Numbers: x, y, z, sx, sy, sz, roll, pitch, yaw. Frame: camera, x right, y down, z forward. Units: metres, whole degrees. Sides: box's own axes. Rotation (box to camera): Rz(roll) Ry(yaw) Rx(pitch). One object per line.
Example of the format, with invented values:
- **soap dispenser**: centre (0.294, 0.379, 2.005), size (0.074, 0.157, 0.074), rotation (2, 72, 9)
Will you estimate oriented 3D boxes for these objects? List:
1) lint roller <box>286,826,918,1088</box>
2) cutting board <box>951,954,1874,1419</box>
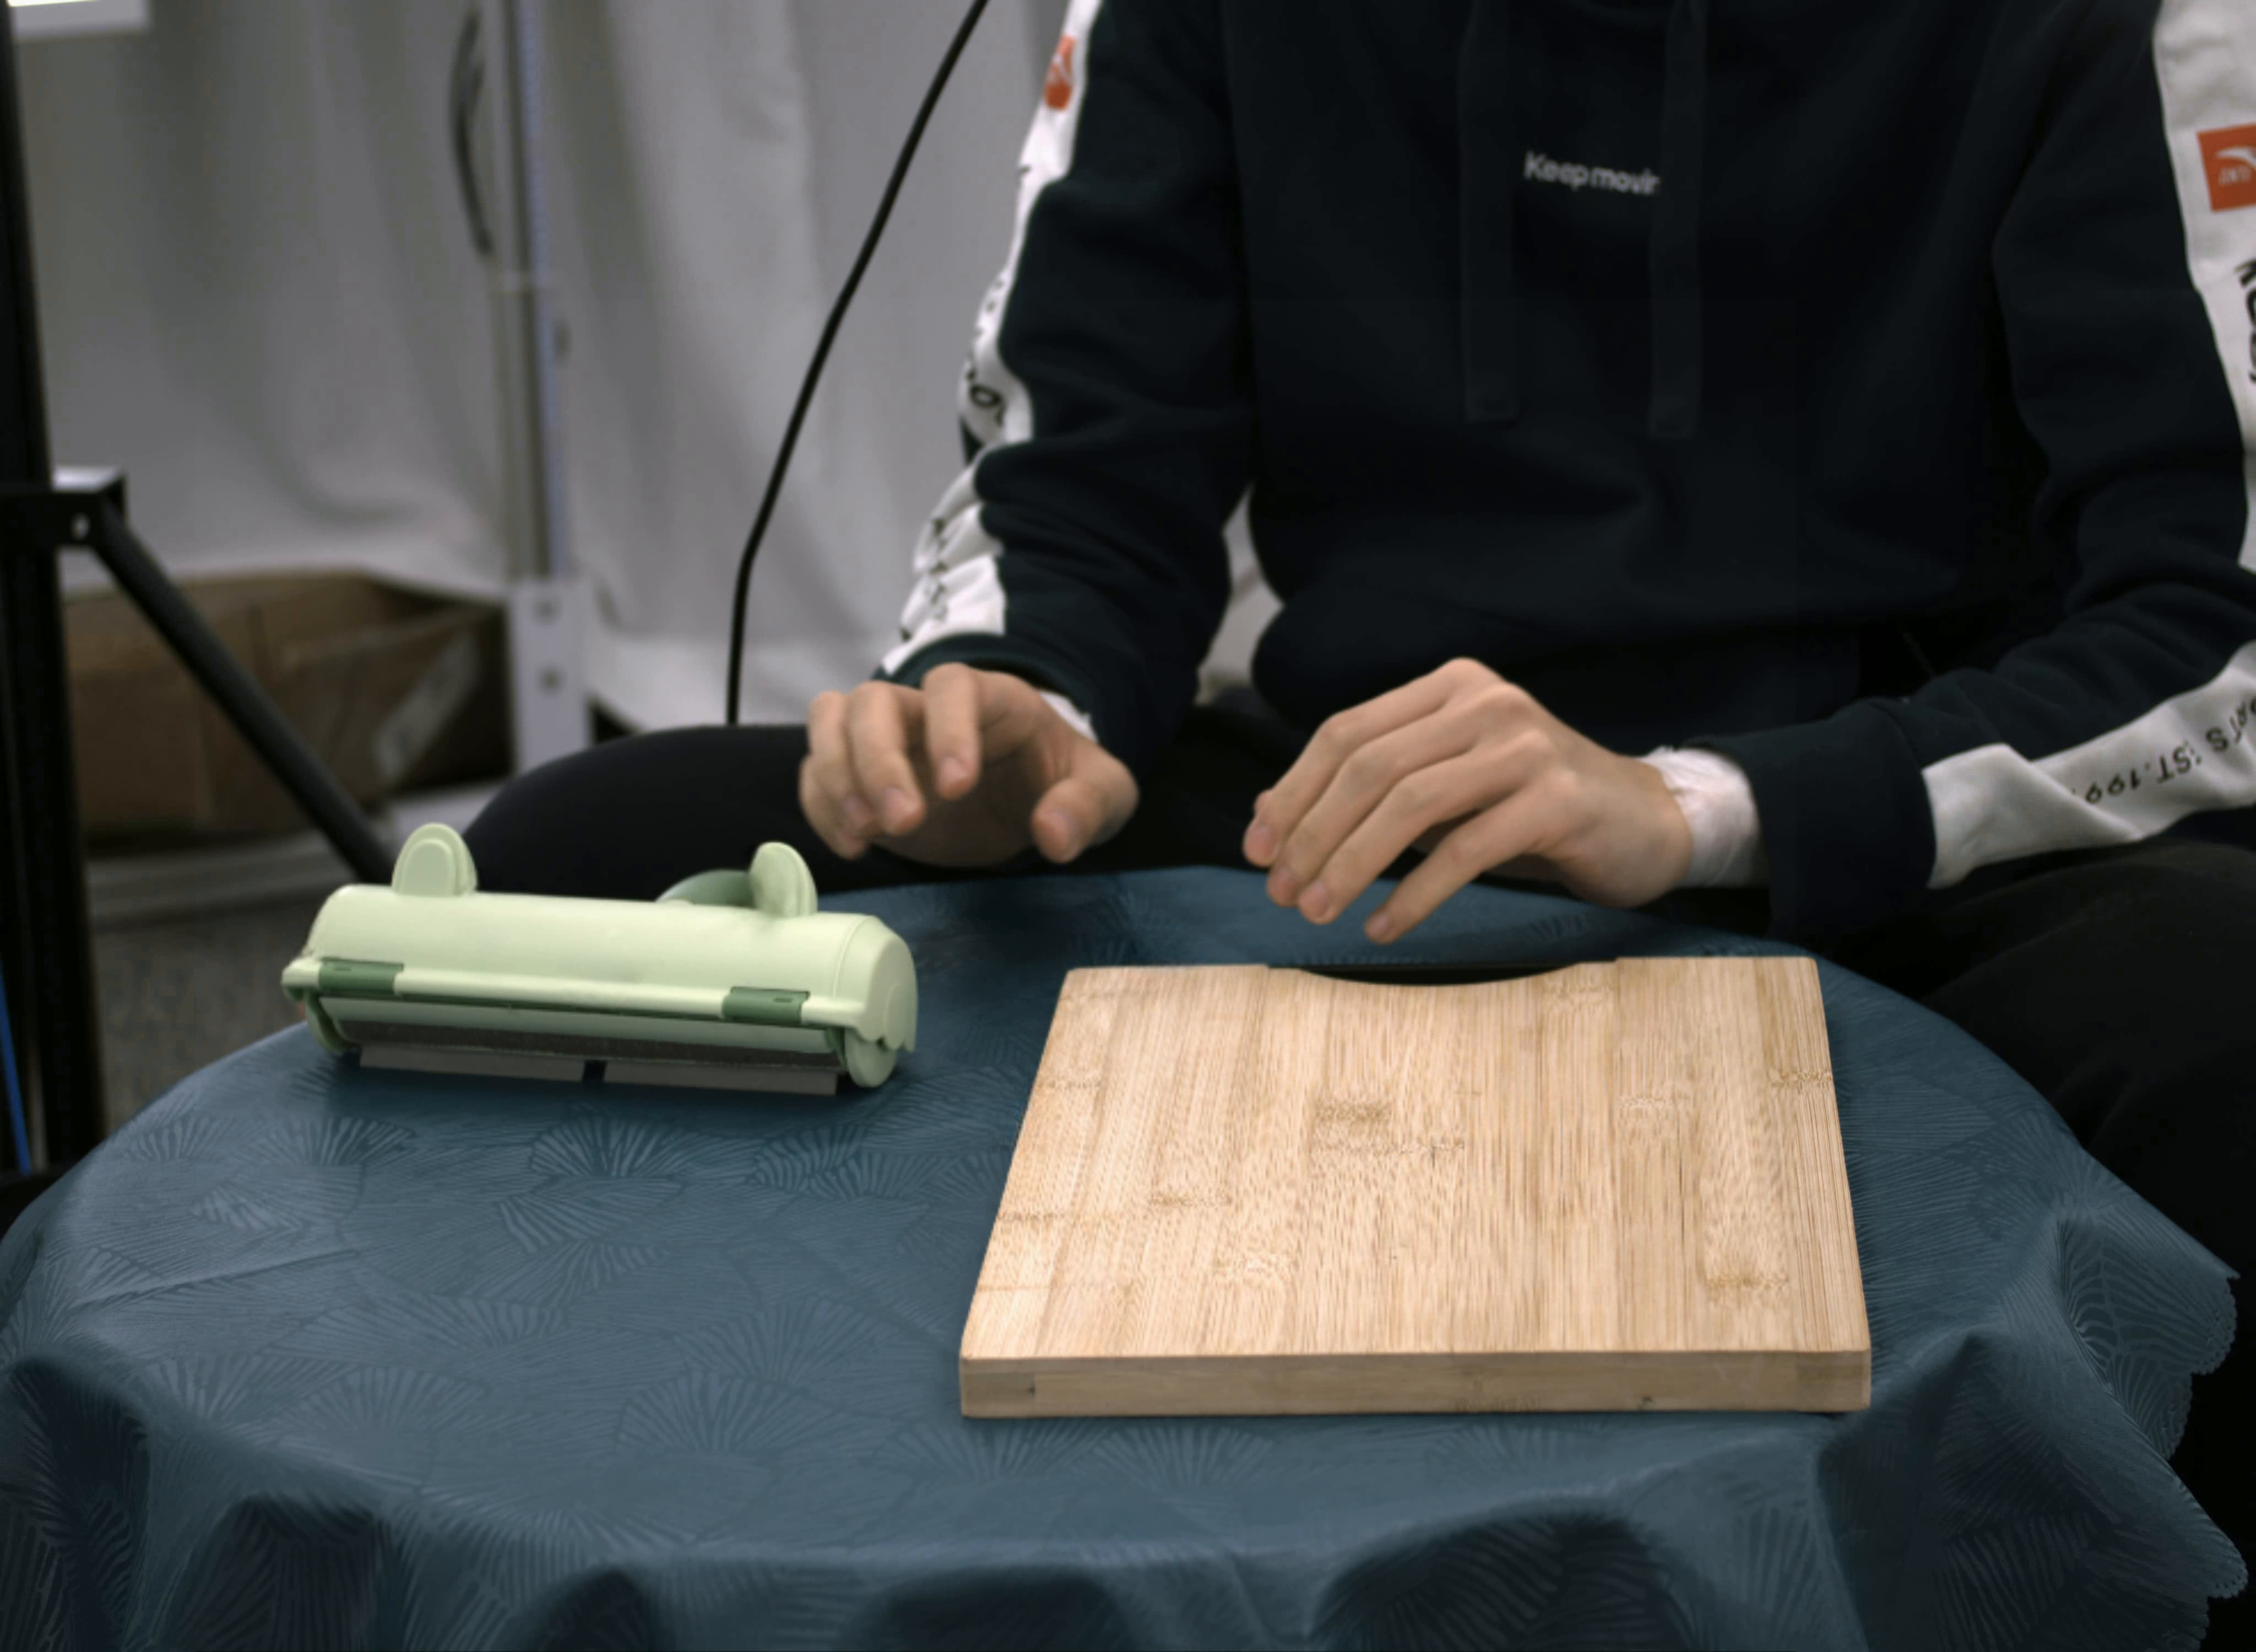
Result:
- **lint roller**: centre (-0.150, 0.025, 1.734), size (0.201, 0.082, 0.182), rotation (2, 21, 19)
- **cutting board**: centre (0.088, 0.100, 1.544), size (0.250, 0.023, 0.349), rotation (-1, 16, 5)
